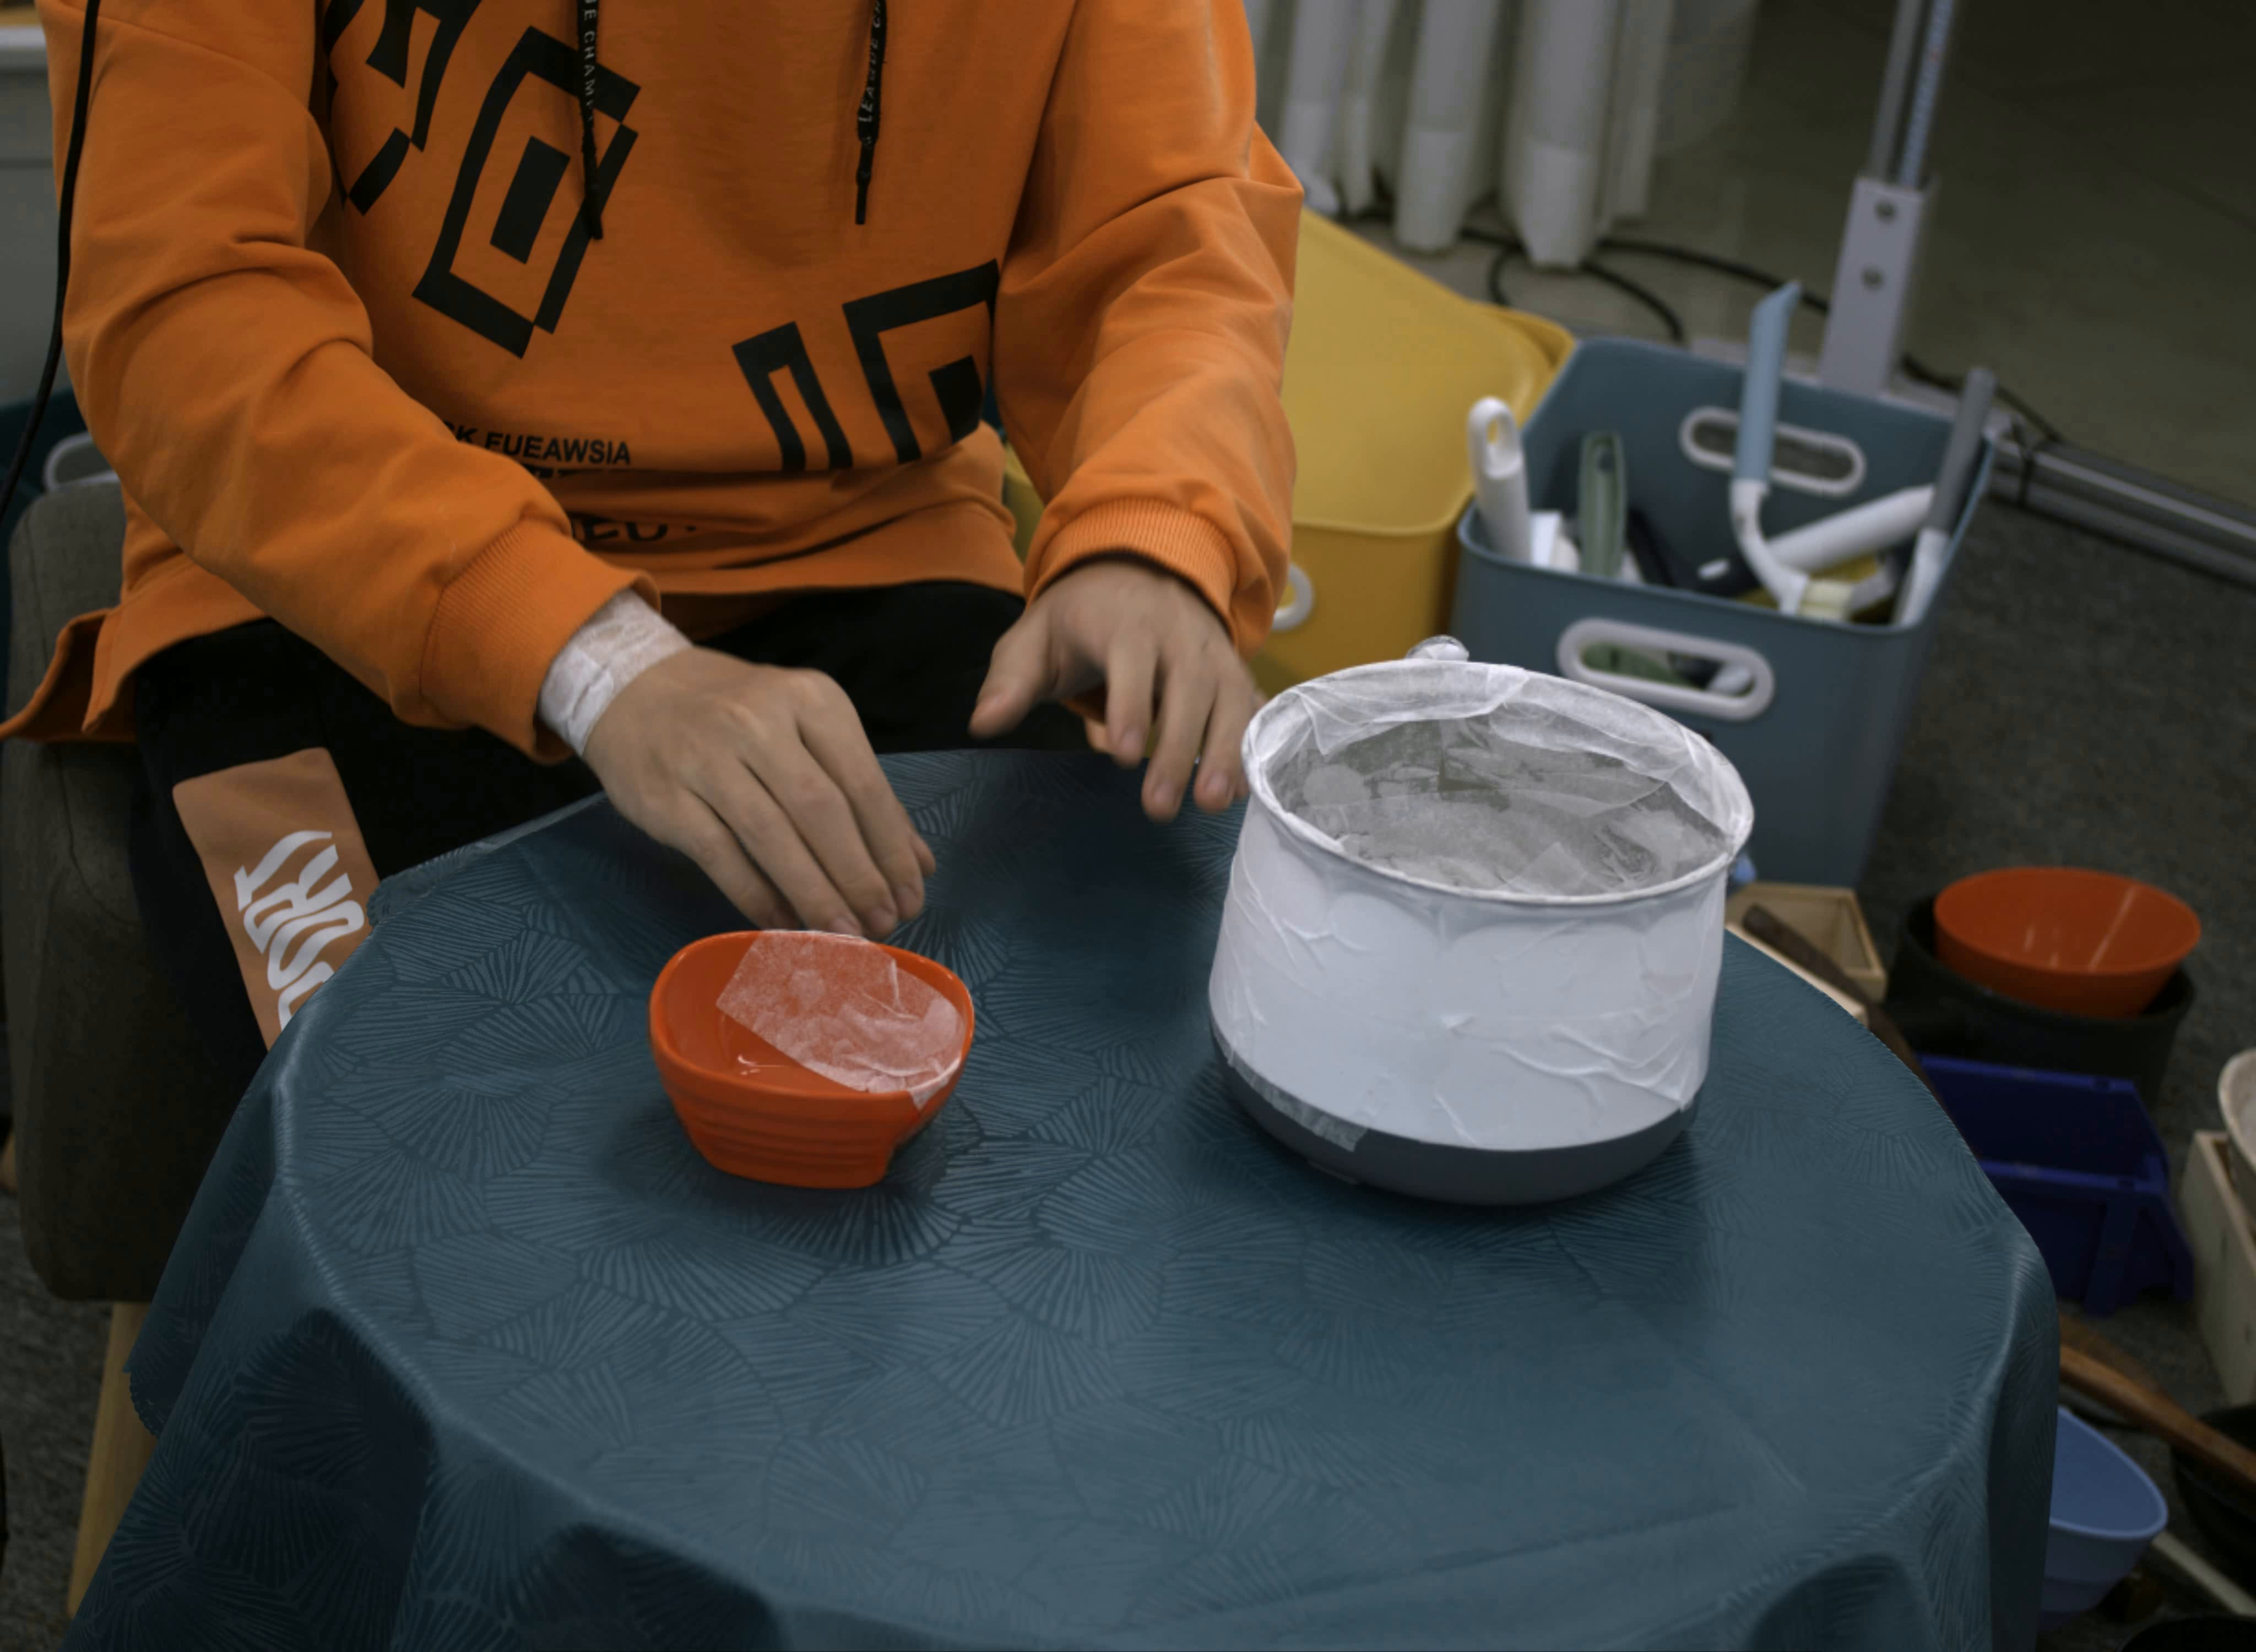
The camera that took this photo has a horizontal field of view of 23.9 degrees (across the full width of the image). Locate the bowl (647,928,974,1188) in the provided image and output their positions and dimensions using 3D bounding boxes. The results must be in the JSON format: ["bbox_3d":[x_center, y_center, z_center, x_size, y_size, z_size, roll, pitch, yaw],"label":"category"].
[{"bbox_3d":[-0.109,0.083,1.802,0.118,0.051,0.119,4,28,-3],"label":"bowl"}]

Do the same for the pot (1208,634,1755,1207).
[{"bbox_3d":[0.115,0.026,1.869,0.178,0.136,0.235,2,28,-11],"label":"pot"}]
